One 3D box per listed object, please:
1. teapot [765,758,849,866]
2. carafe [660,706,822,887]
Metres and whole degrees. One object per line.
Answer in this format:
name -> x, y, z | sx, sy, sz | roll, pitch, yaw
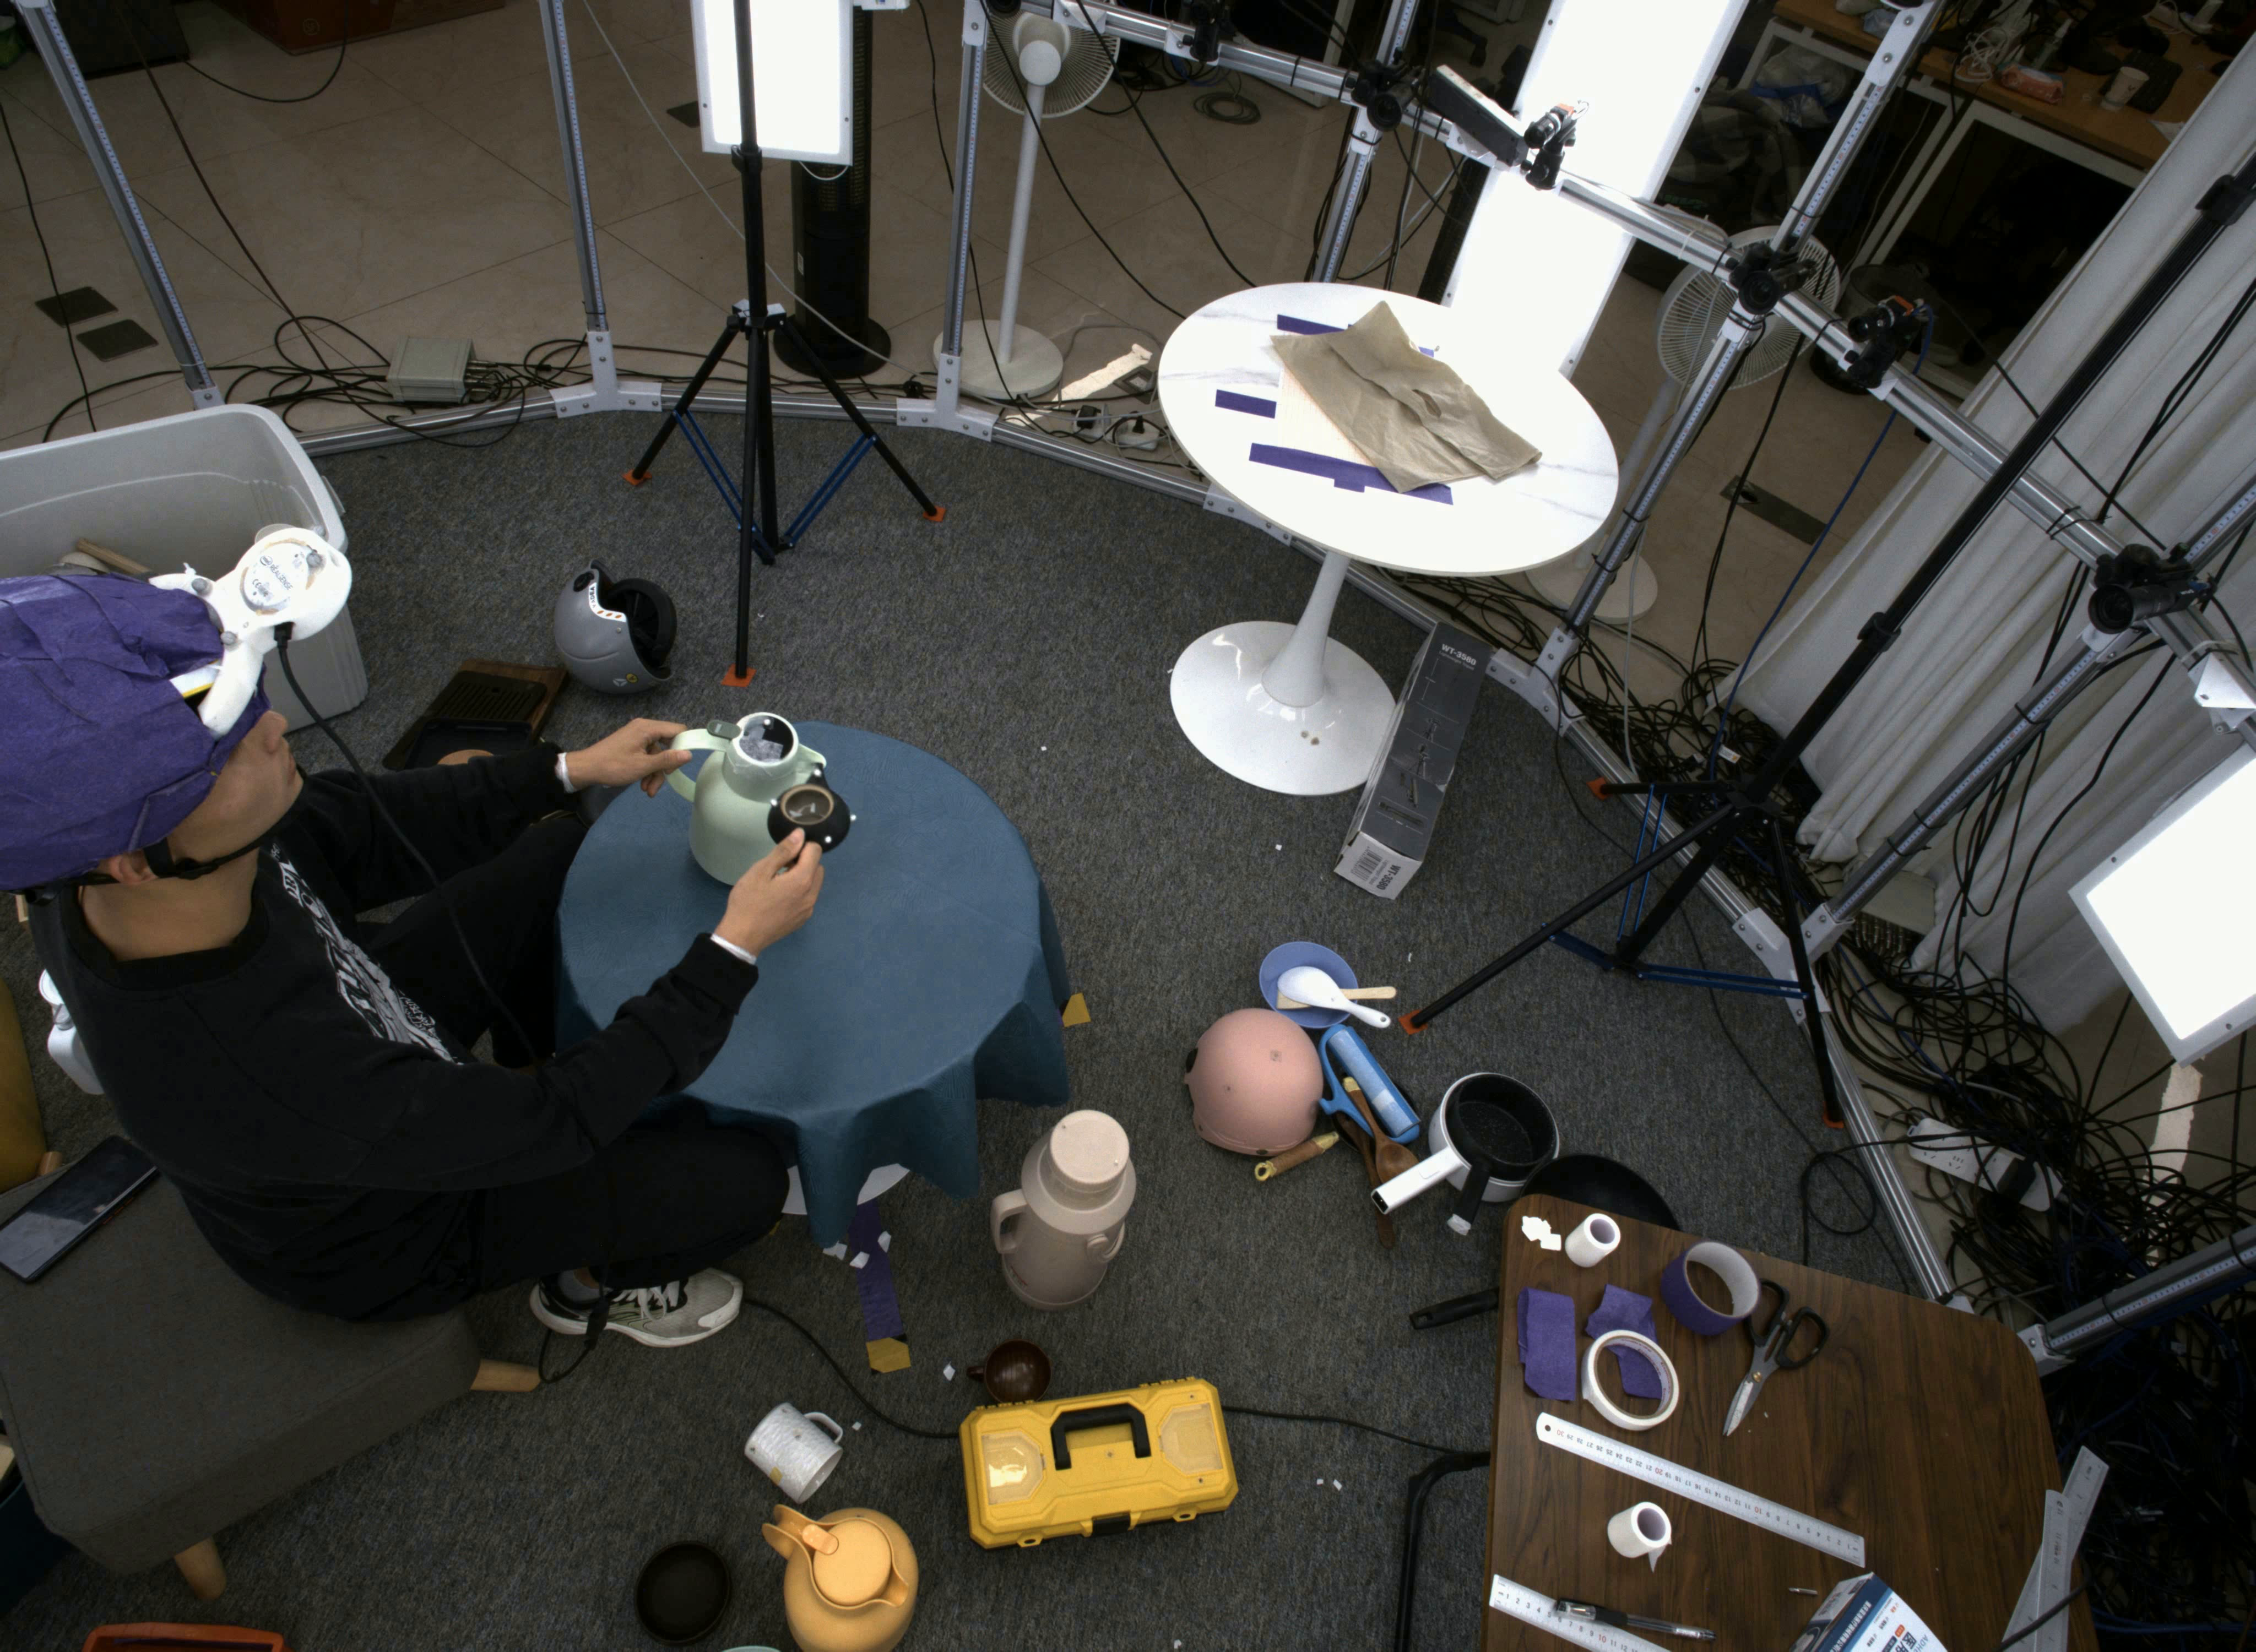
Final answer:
teapot -> -0.353, -0.011, 1.421 | 0.090, 0.054, 0.131 | 6, 50, -4
carafe -> -0.470, -0.047, 1.568 | 0.187, 0.259, 0.142 | 10, 58, -12
